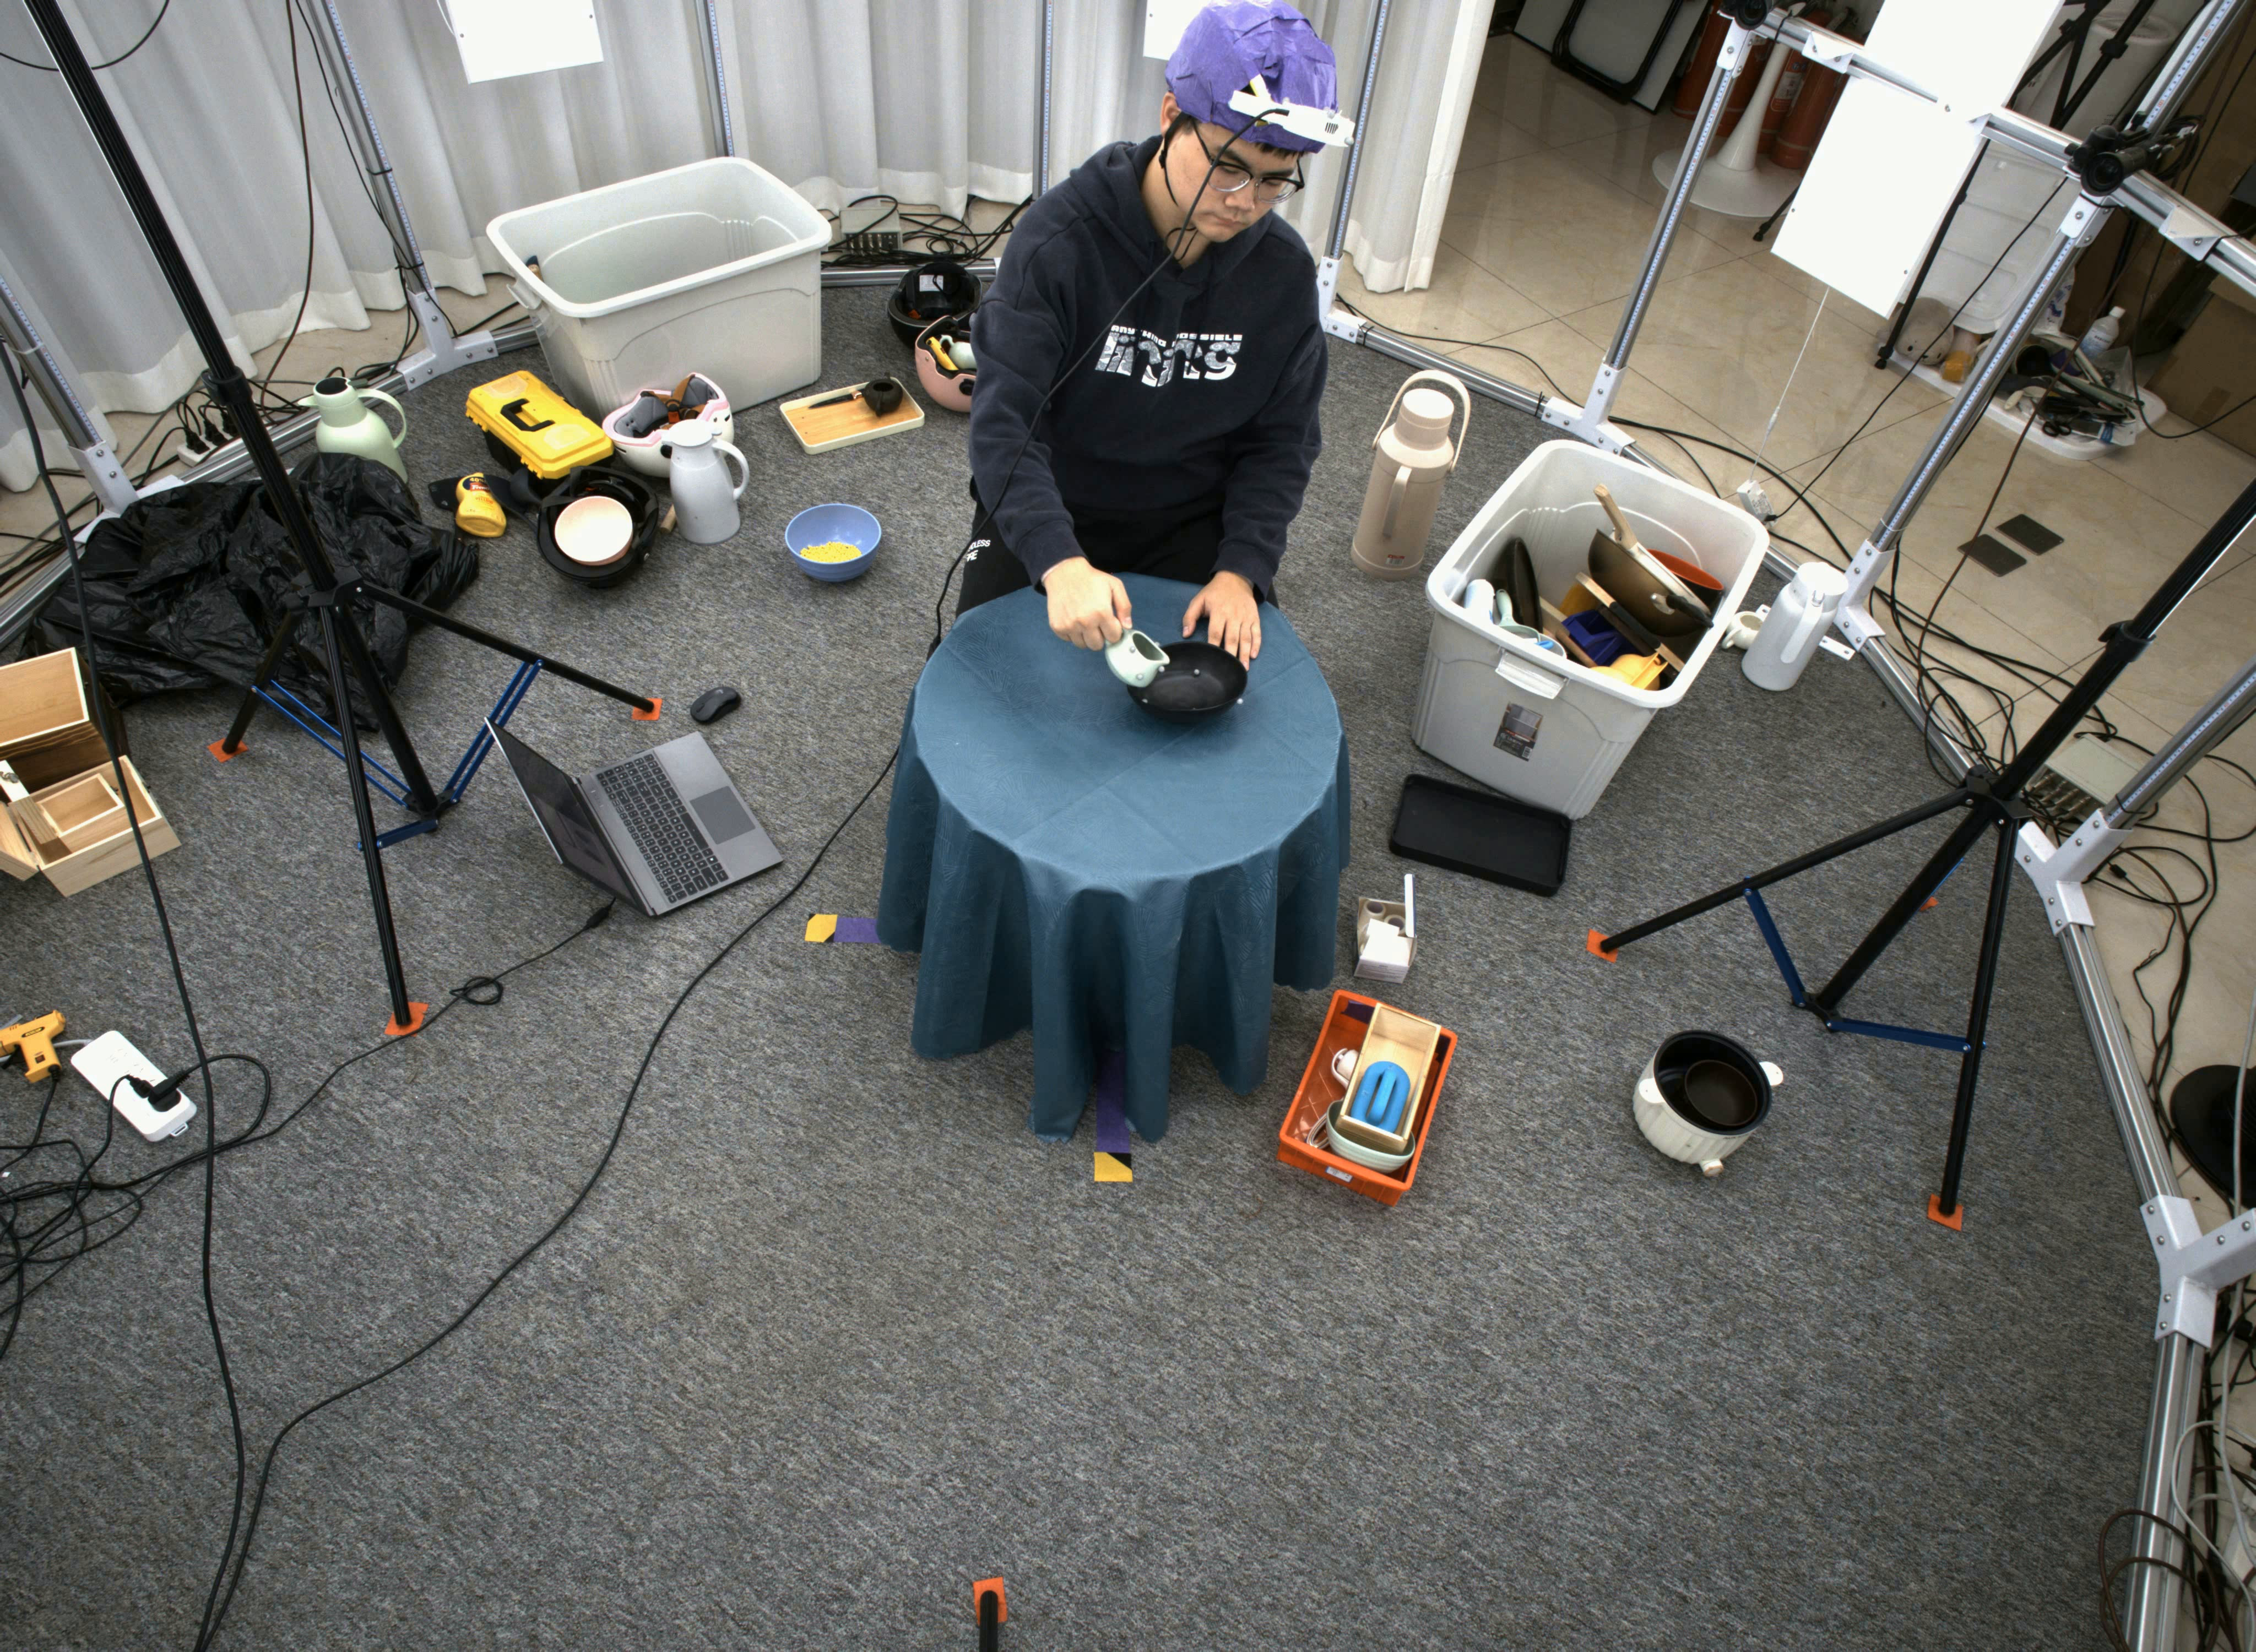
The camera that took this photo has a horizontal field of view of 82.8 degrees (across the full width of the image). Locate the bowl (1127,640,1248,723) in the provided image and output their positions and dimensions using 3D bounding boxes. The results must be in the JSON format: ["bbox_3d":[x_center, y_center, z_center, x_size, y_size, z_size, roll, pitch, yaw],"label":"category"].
[{"bbox_3d":[0.083,-0.189,1.795,0.170,0.065,0.141,-10,50,-11],"label":"bowl"}]

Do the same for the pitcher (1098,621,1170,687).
[{"bbox_3d":[0.000,-0.234,1.715,0.106,0.060,0.088,29,41,-30],"label":"pitcher"}]
